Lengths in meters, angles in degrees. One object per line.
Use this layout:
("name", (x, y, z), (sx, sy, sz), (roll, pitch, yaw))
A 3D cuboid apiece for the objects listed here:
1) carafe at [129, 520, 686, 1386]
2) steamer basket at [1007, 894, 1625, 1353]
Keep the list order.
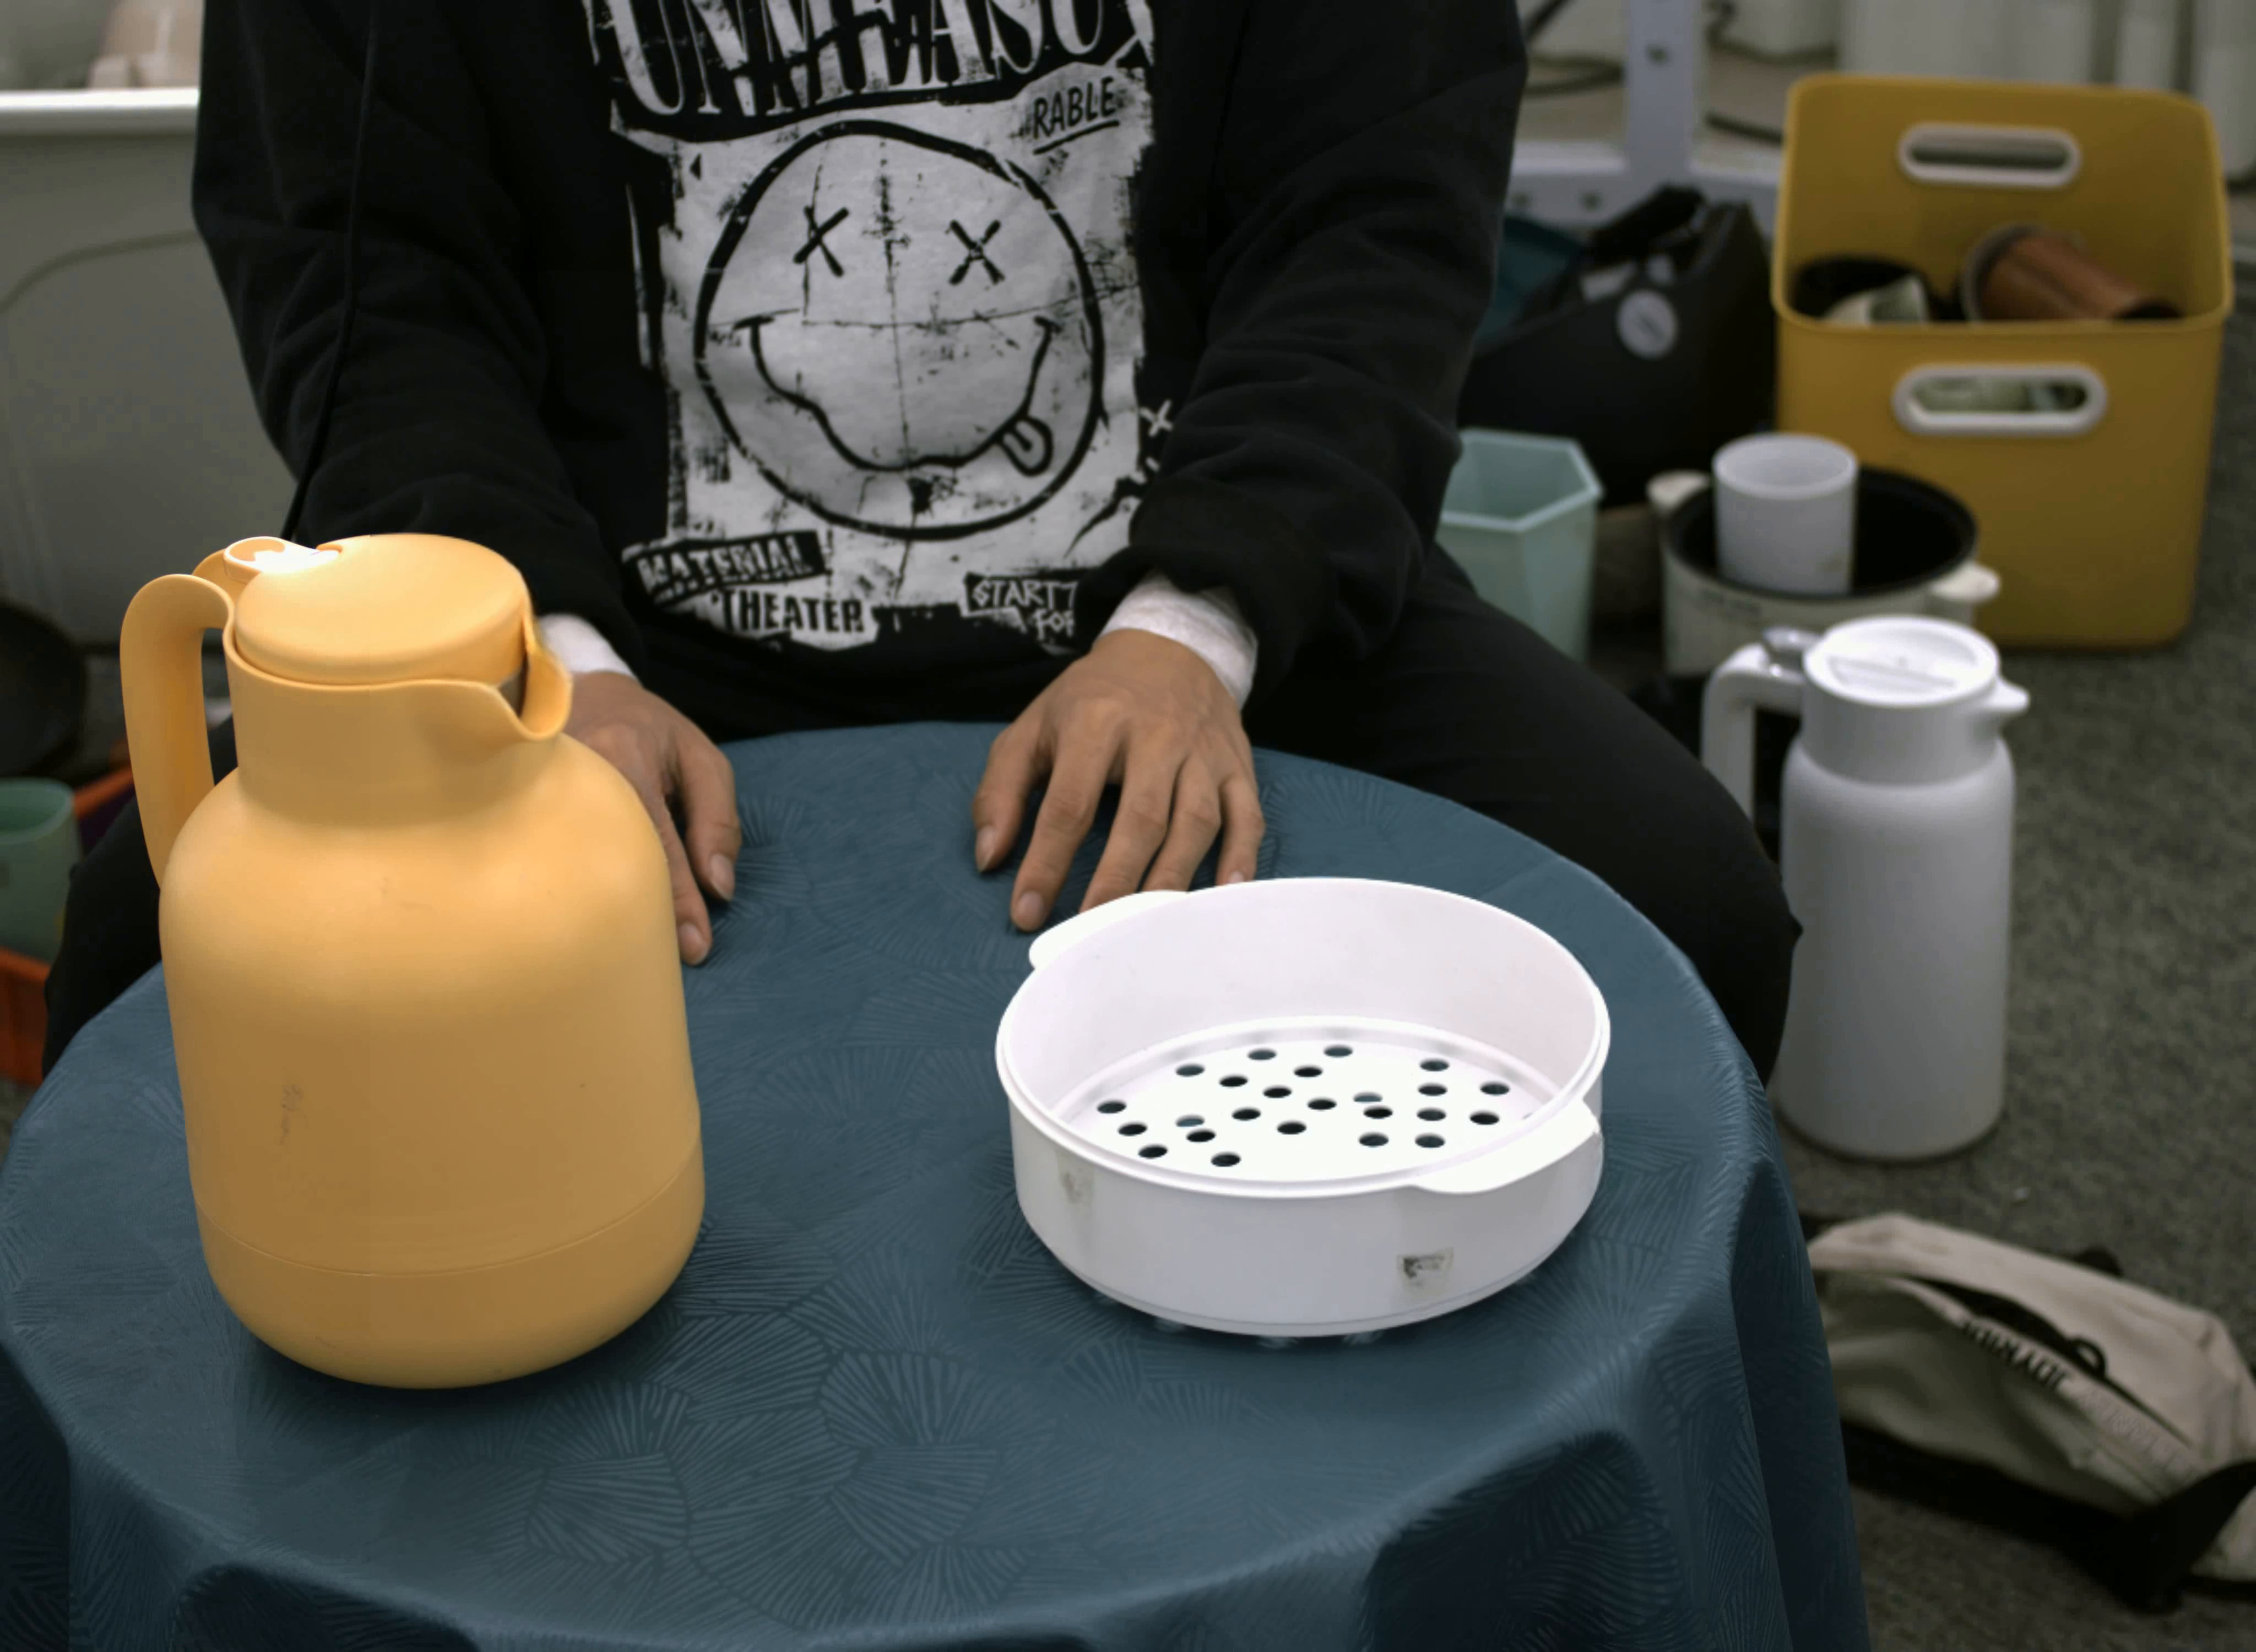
("carafe", (-0.237, 0.030, 1.778), (0.202, 0.258, 0.165), (23, 33, 39))
("steamer basket", (0.062, 0.097, 1.835), (0.204, 0.068, 0.230), (-23, 33, -33))
